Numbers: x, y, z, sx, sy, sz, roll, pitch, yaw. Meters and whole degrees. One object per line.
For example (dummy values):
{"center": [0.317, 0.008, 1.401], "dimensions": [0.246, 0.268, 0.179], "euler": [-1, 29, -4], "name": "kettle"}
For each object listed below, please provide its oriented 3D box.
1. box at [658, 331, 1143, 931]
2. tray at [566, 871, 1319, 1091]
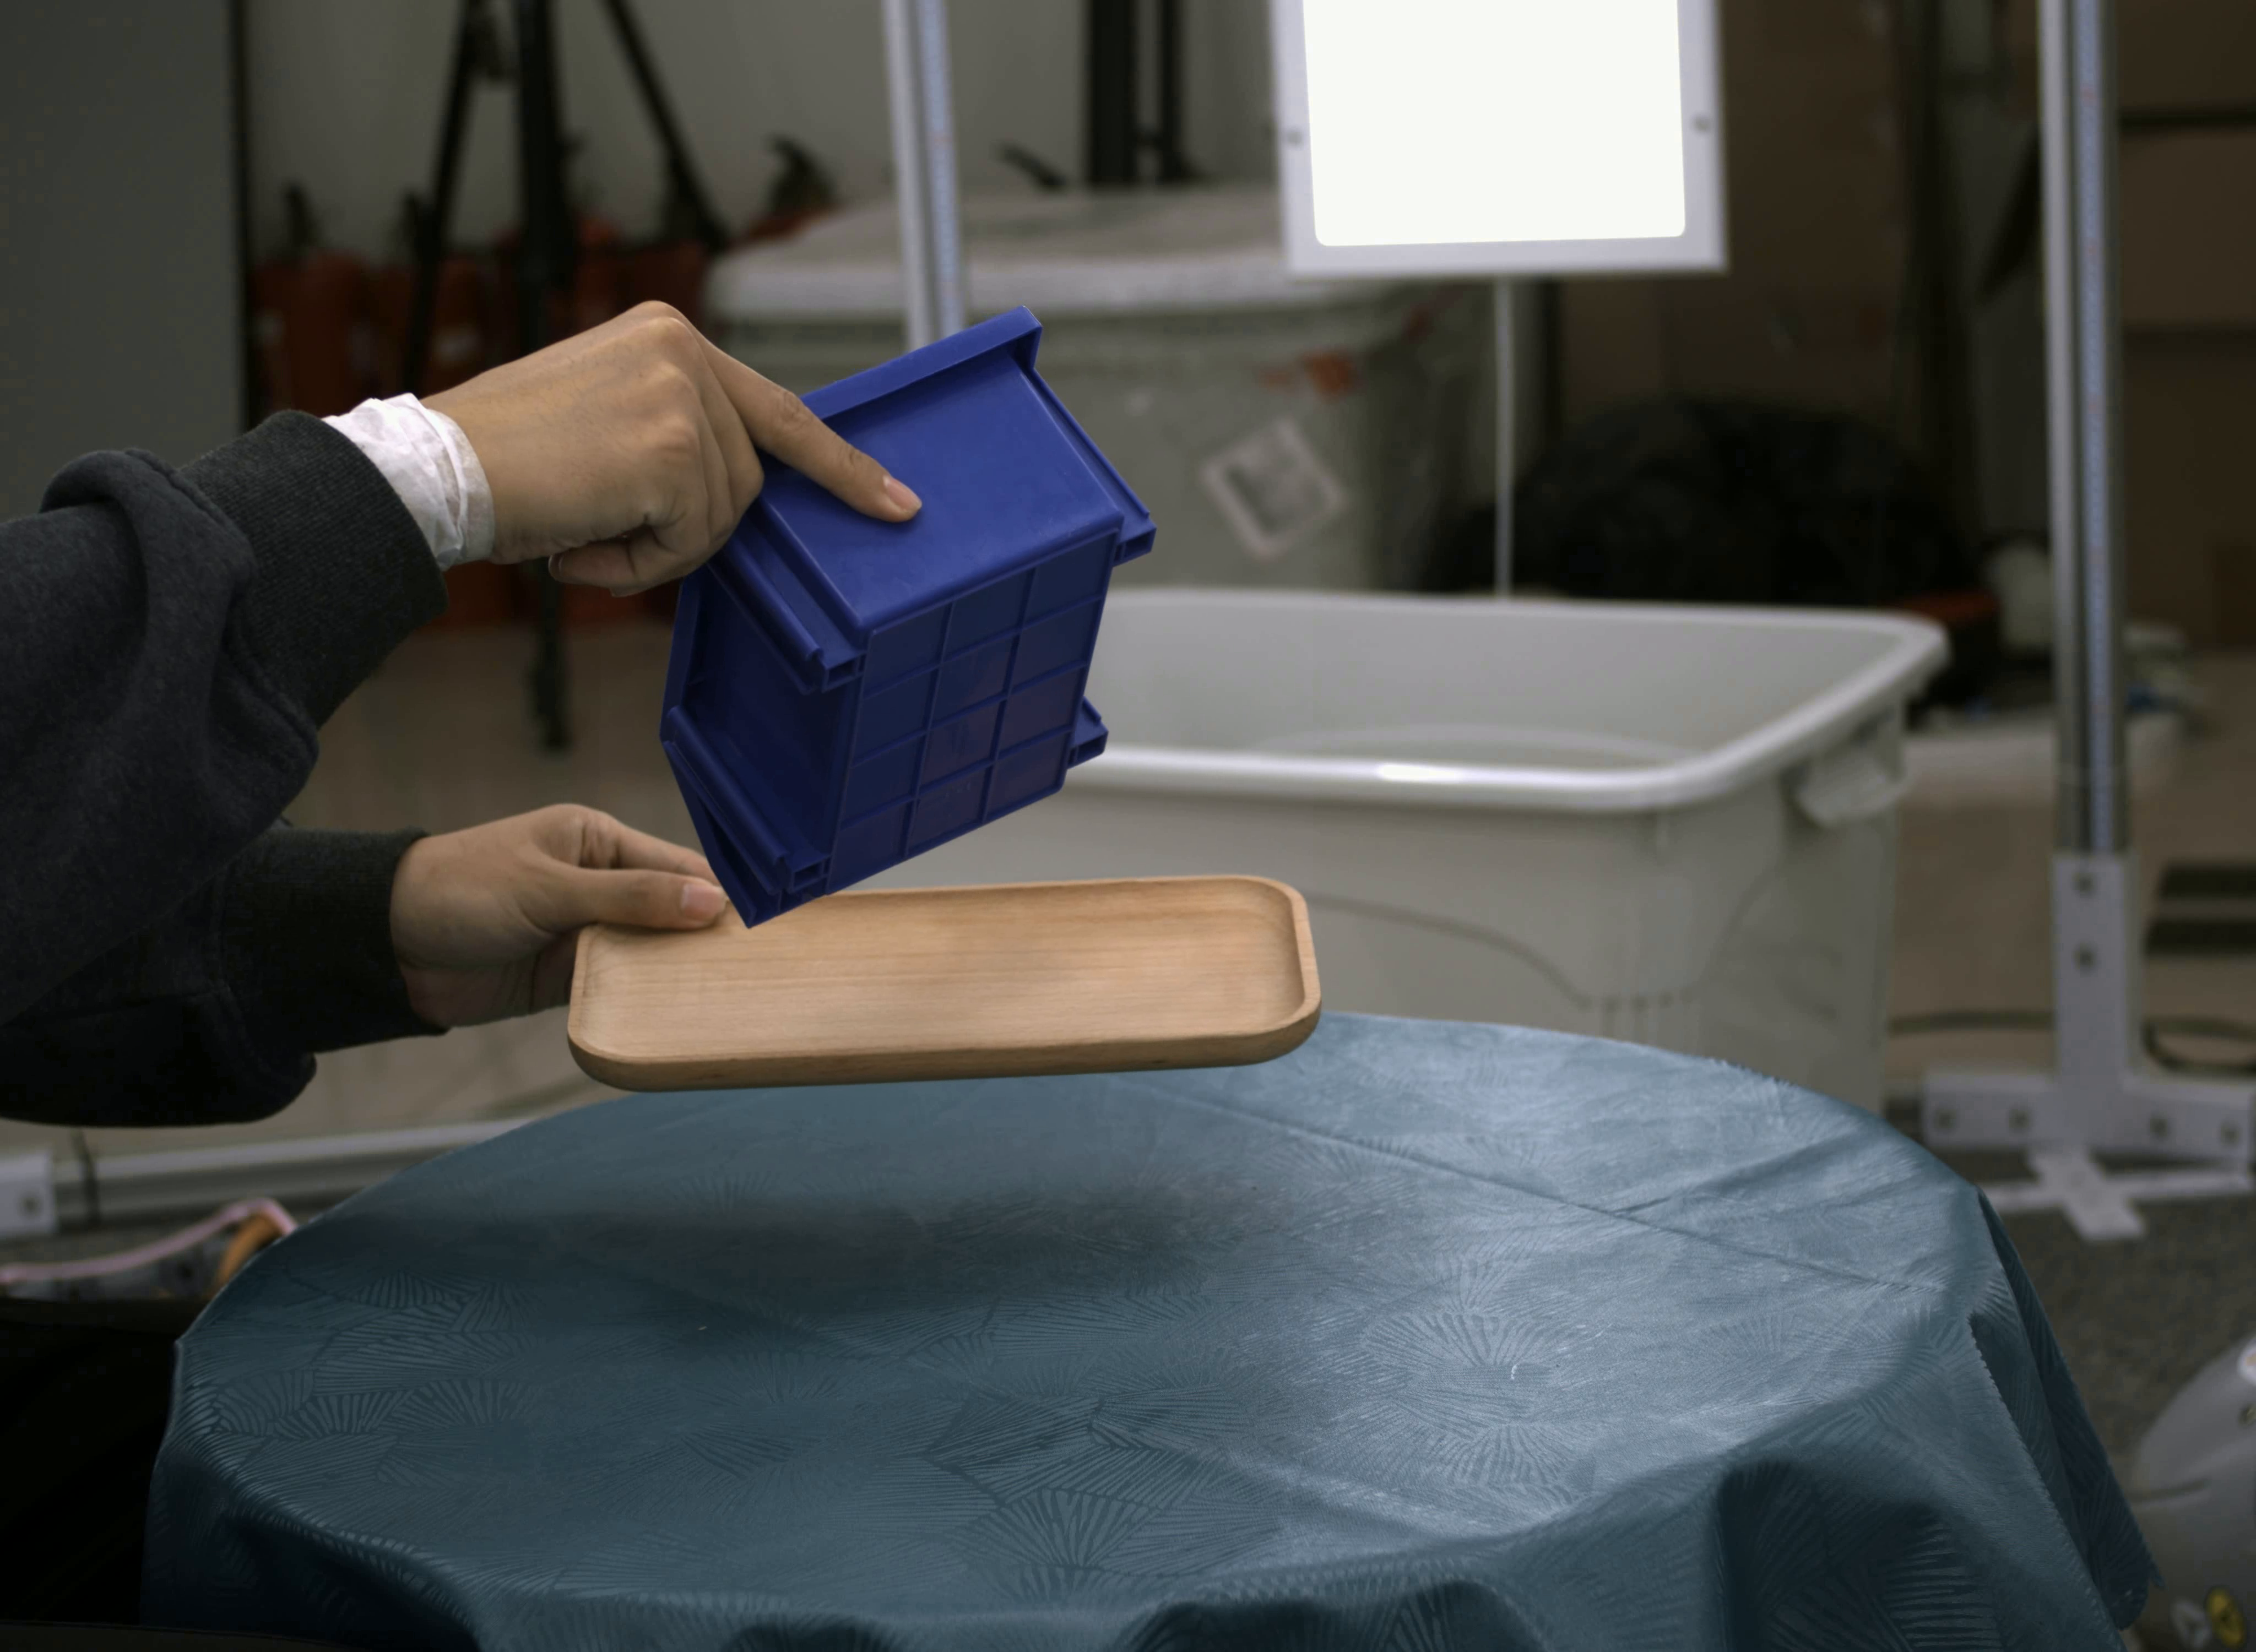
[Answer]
{"center": [-0.076, -0.052, 1.733], "dimensions": [0.122, 0.082, 0.181], "euler": [-26, -24, -22], "name": "box"}
{"center": [-0.062, 0.052, 1.852], "dimensions": [0.250, 0.023, 0.130], "euler": [-3, 22, 2], "name": "tray"}
